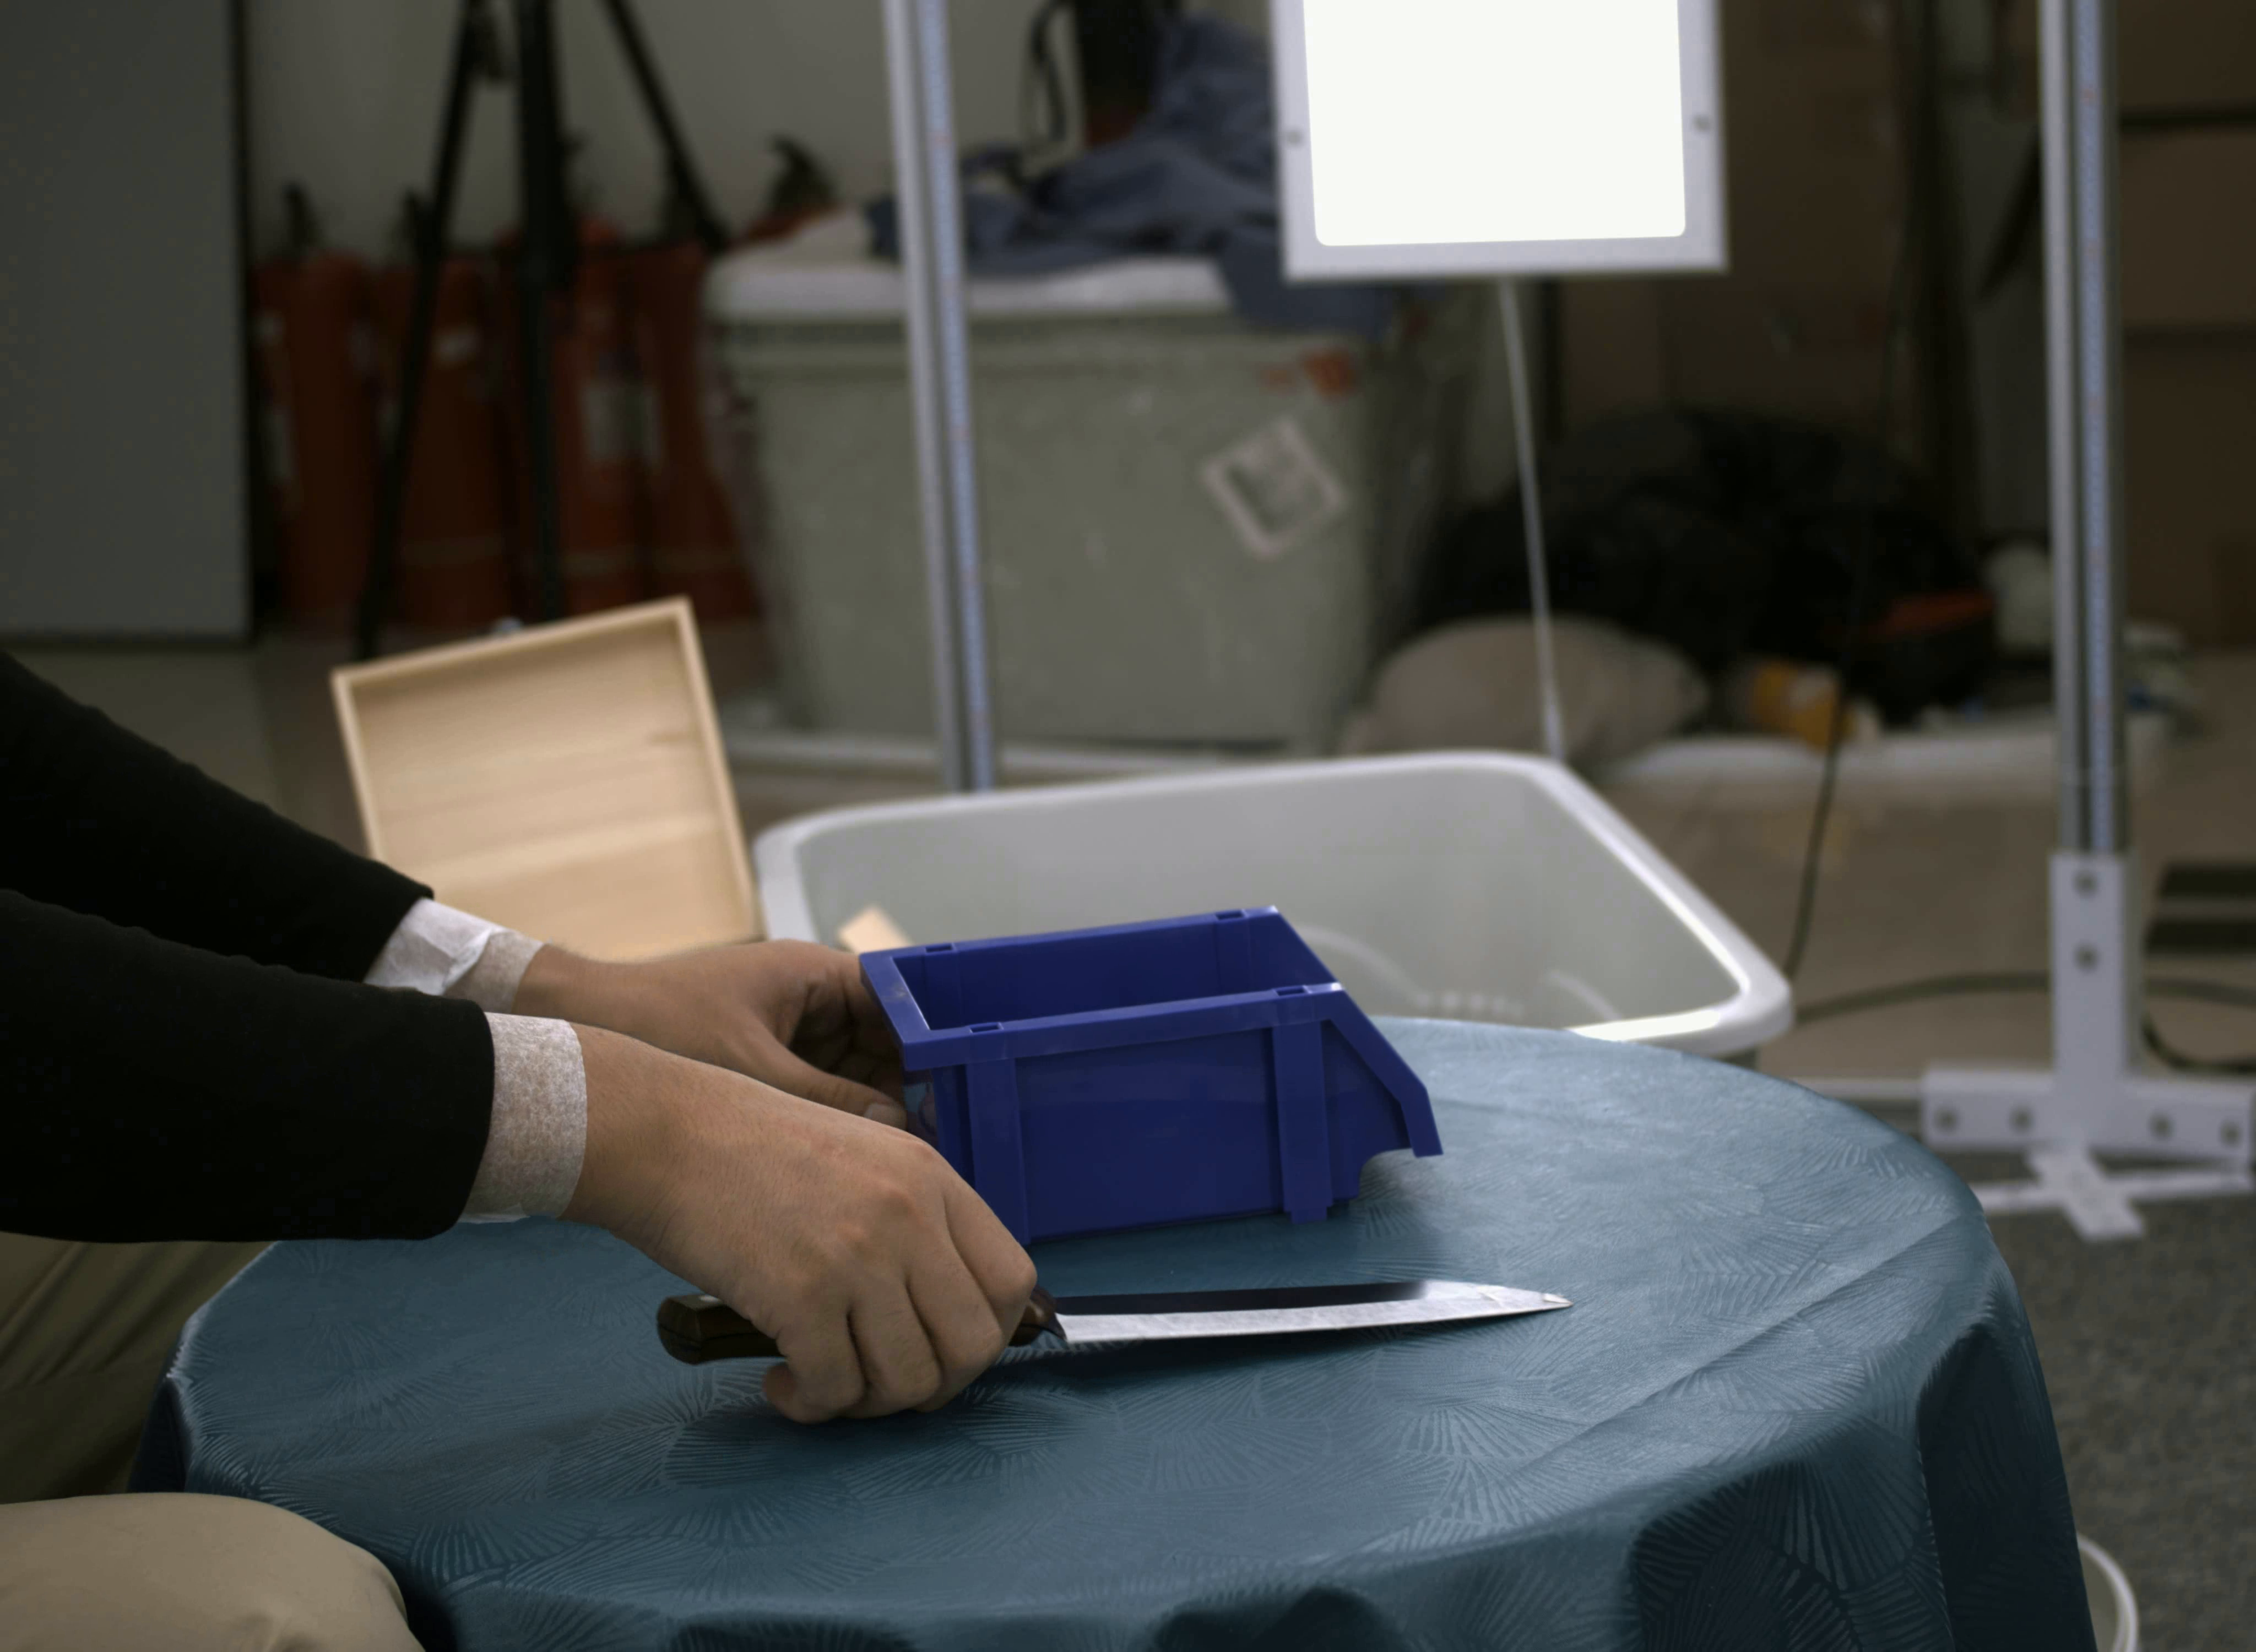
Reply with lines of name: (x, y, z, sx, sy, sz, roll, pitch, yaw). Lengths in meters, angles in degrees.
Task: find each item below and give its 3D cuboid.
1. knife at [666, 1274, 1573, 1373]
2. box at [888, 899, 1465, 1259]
knife: (-0.001, 0.155, 1.731, 0.287, 0.020, 0.050, -2, 17, -6)
box: (0.016, 0.084, 1.895, 0.178, 0.082, 0.125, -9, 14, -5)
